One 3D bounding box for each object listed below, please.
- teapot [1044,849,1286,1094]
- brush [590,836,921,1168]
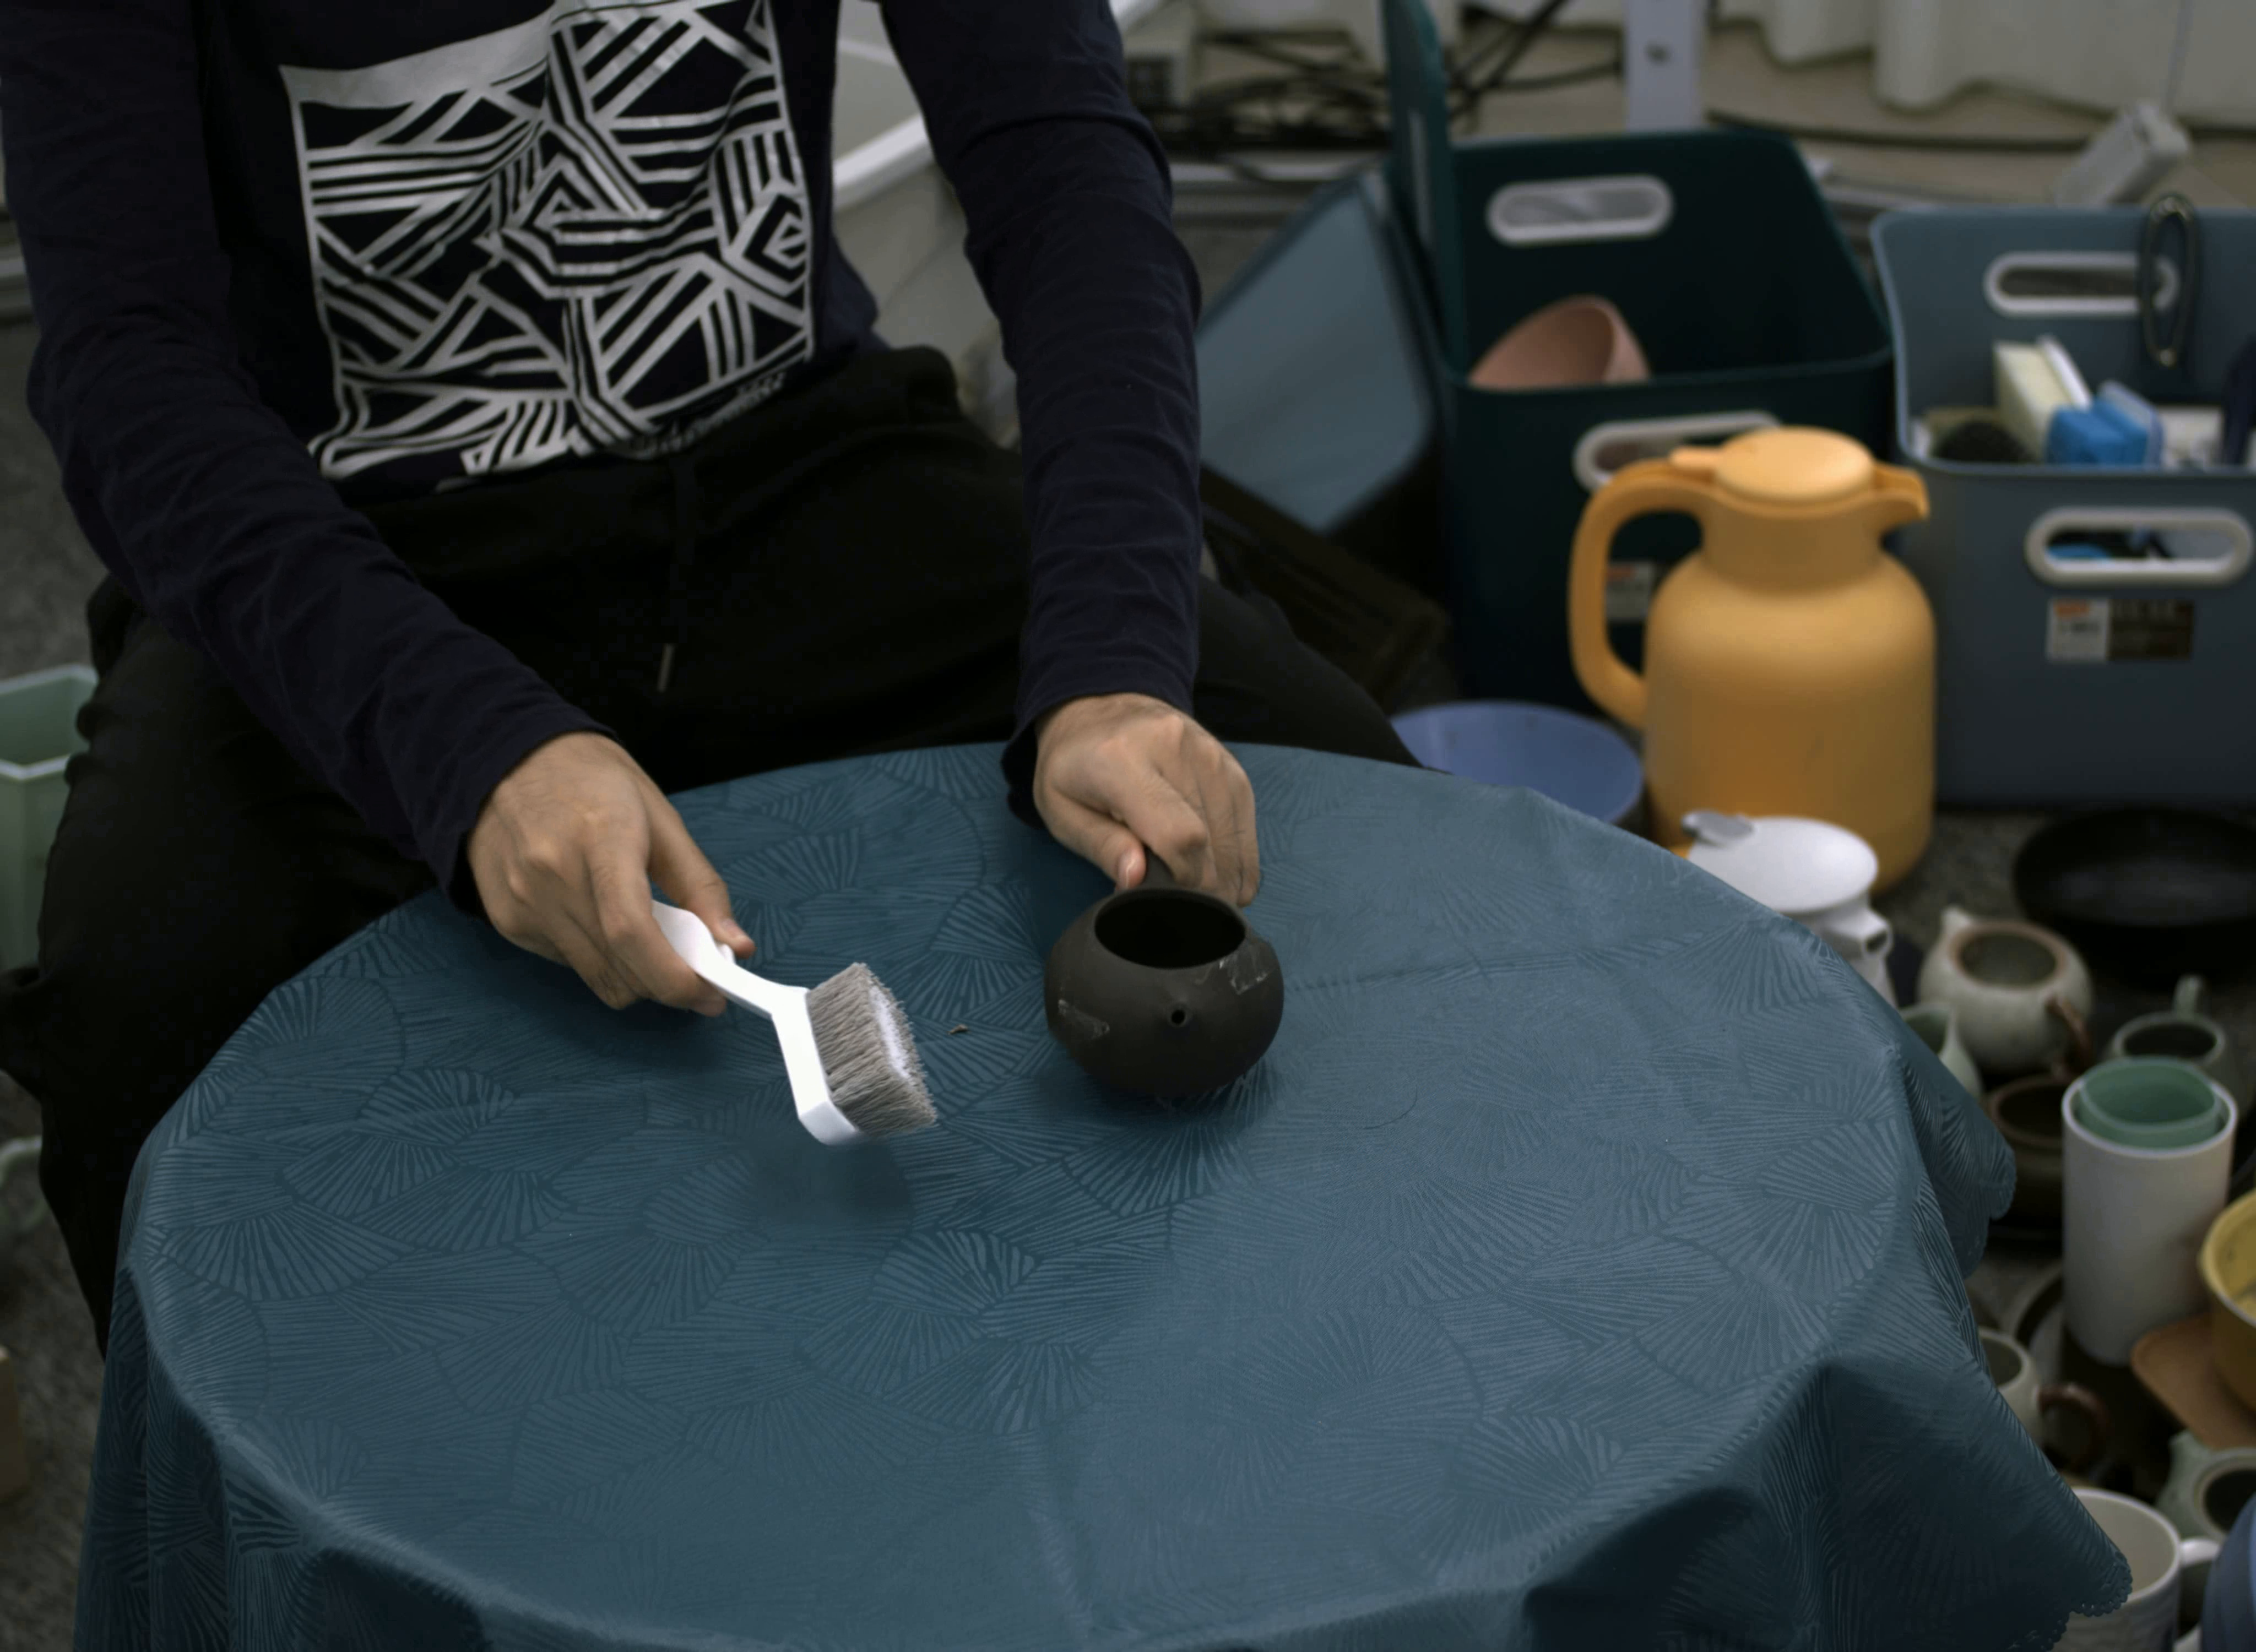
[{"bbox_3d":[0.012,0.048,1.923,0.082,0.052,0.116,0,33,-4],"label":"teapot"},{"bbox_3d":[-0.128,0.044,1.927,0.050,0.034,0.245,-48,34,3],"label":"brush"}]
